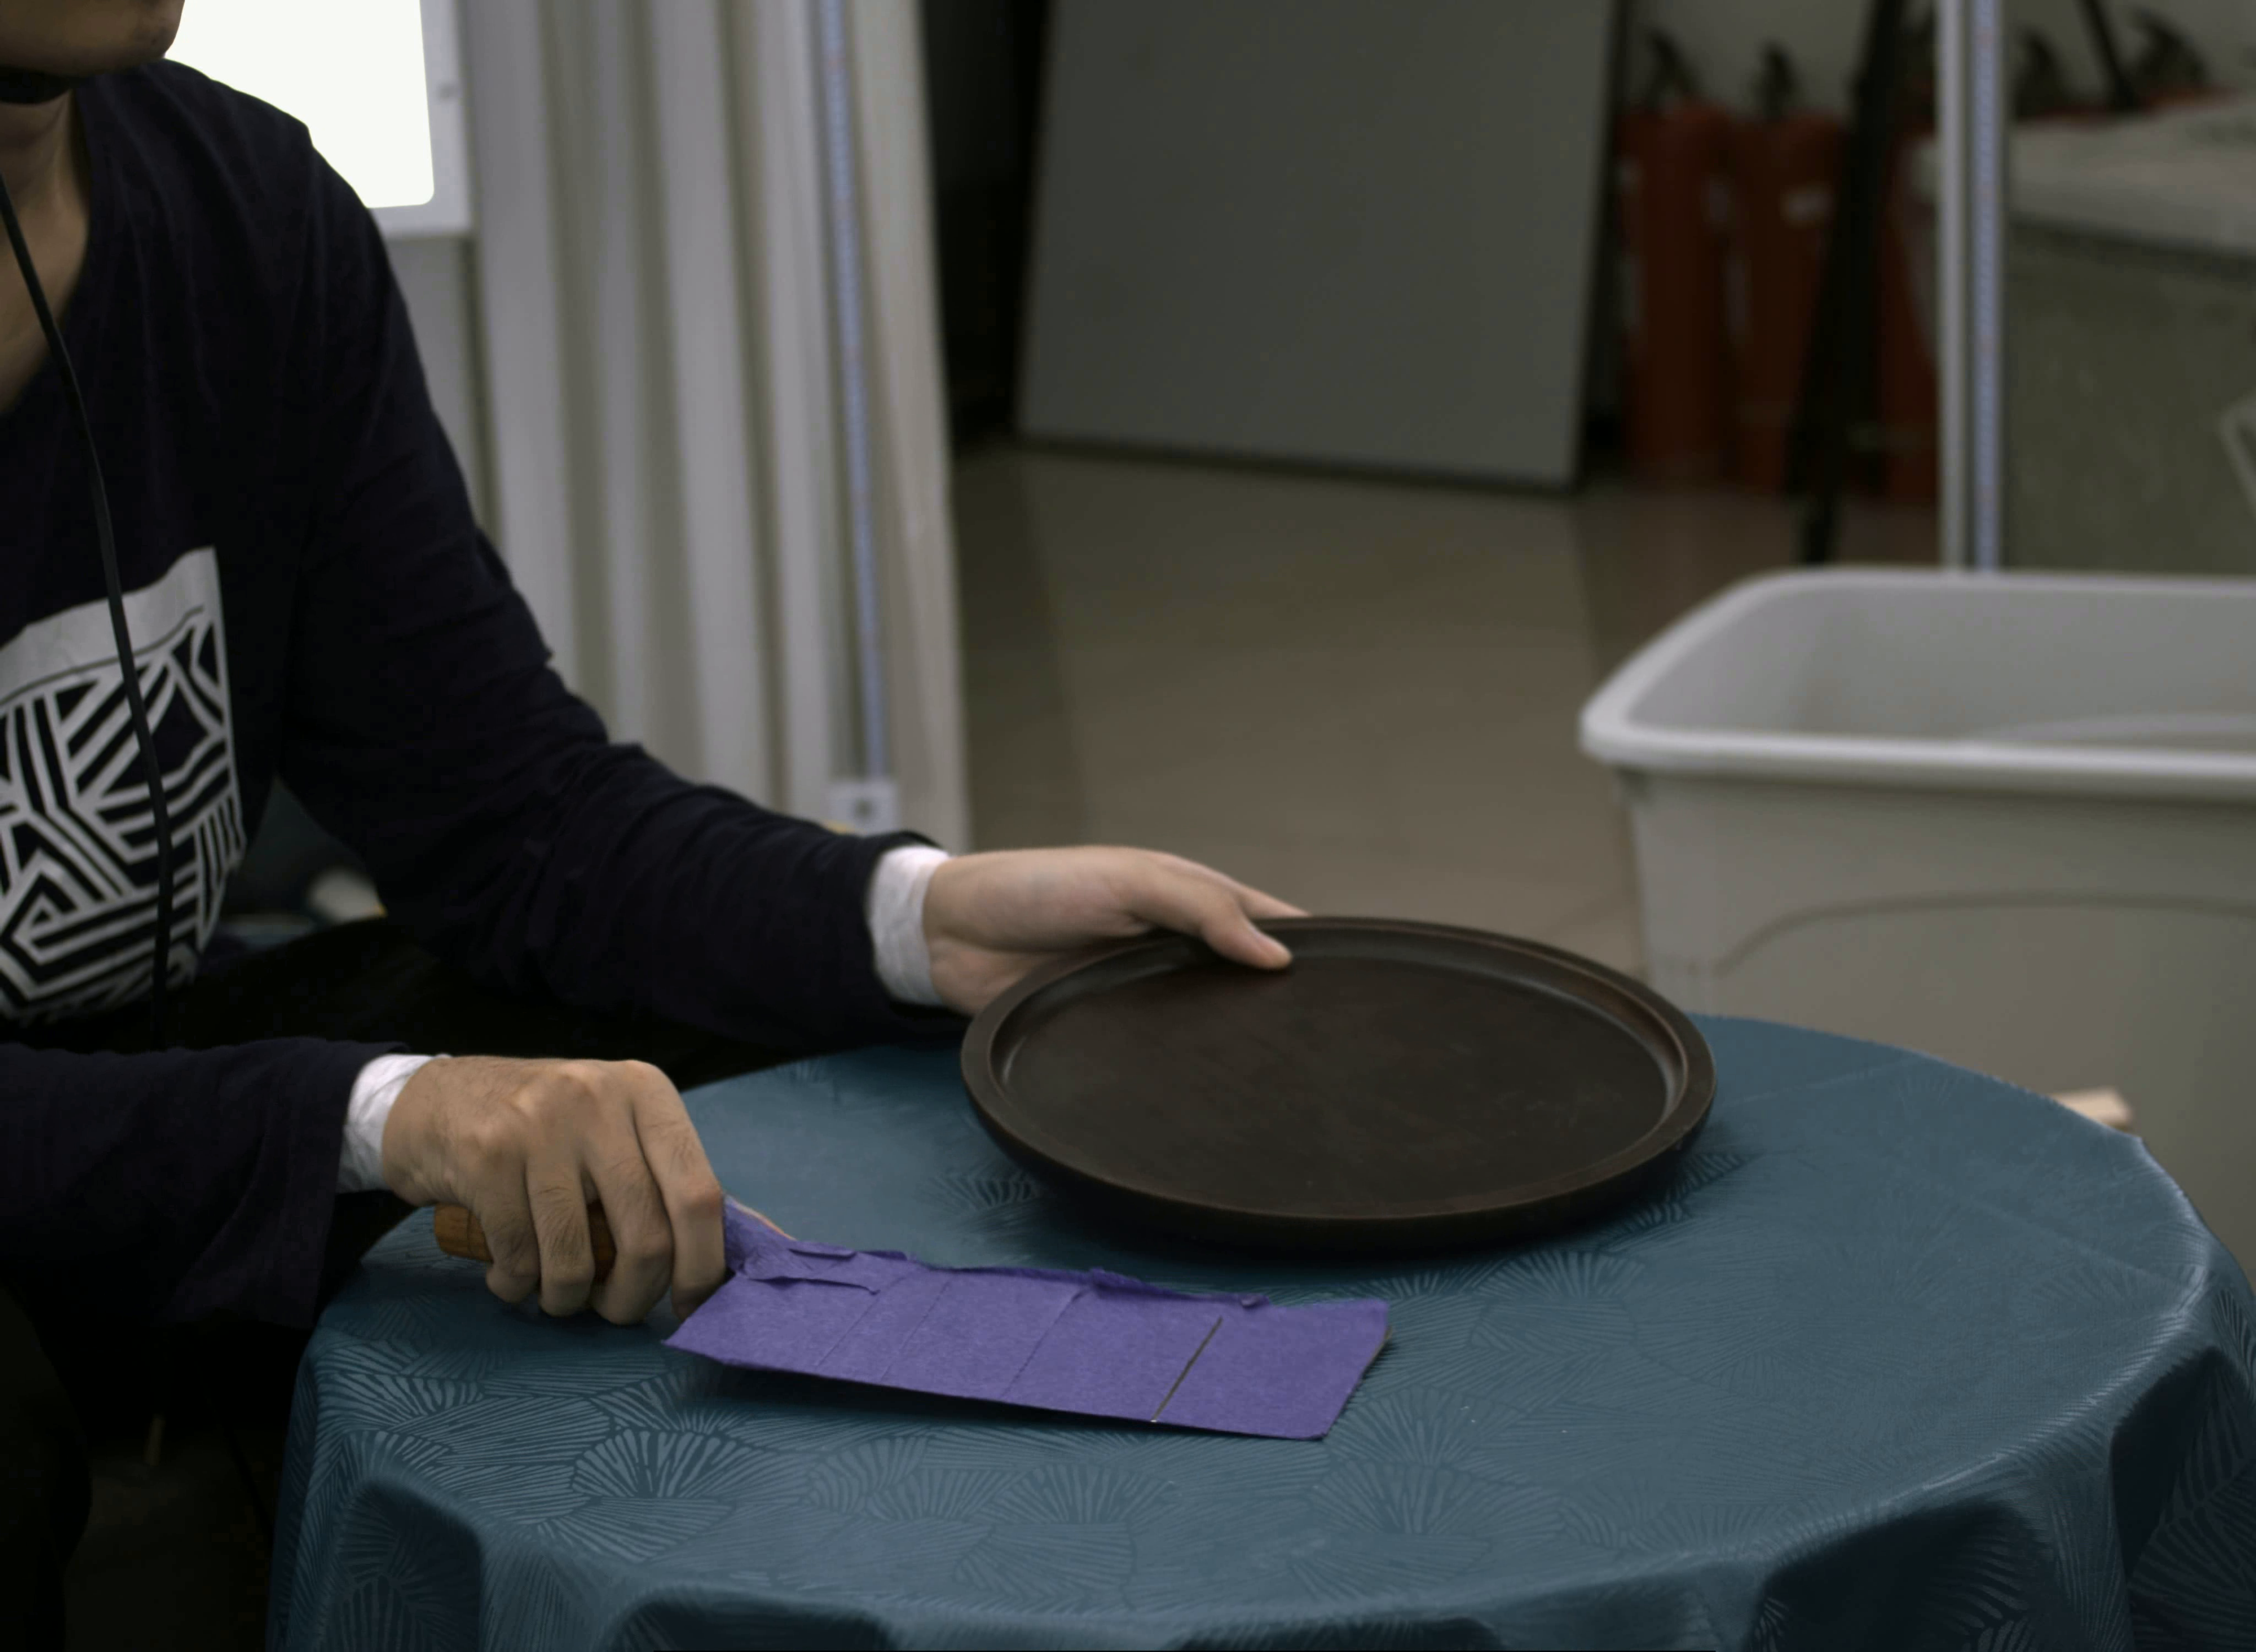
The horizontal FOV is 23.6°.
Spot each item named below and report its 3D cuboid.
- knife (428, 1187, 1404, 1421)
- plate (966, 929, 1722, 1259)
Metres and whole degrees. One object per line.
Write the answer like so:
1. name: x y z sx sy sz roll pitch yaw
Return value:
1. knife: -0.077 0.144 1.624 0.314 0.032 0.103 2 18 19
2. plate: 0.071 0.086 1.786 0.251 0.029 0.255 1 20 -1
